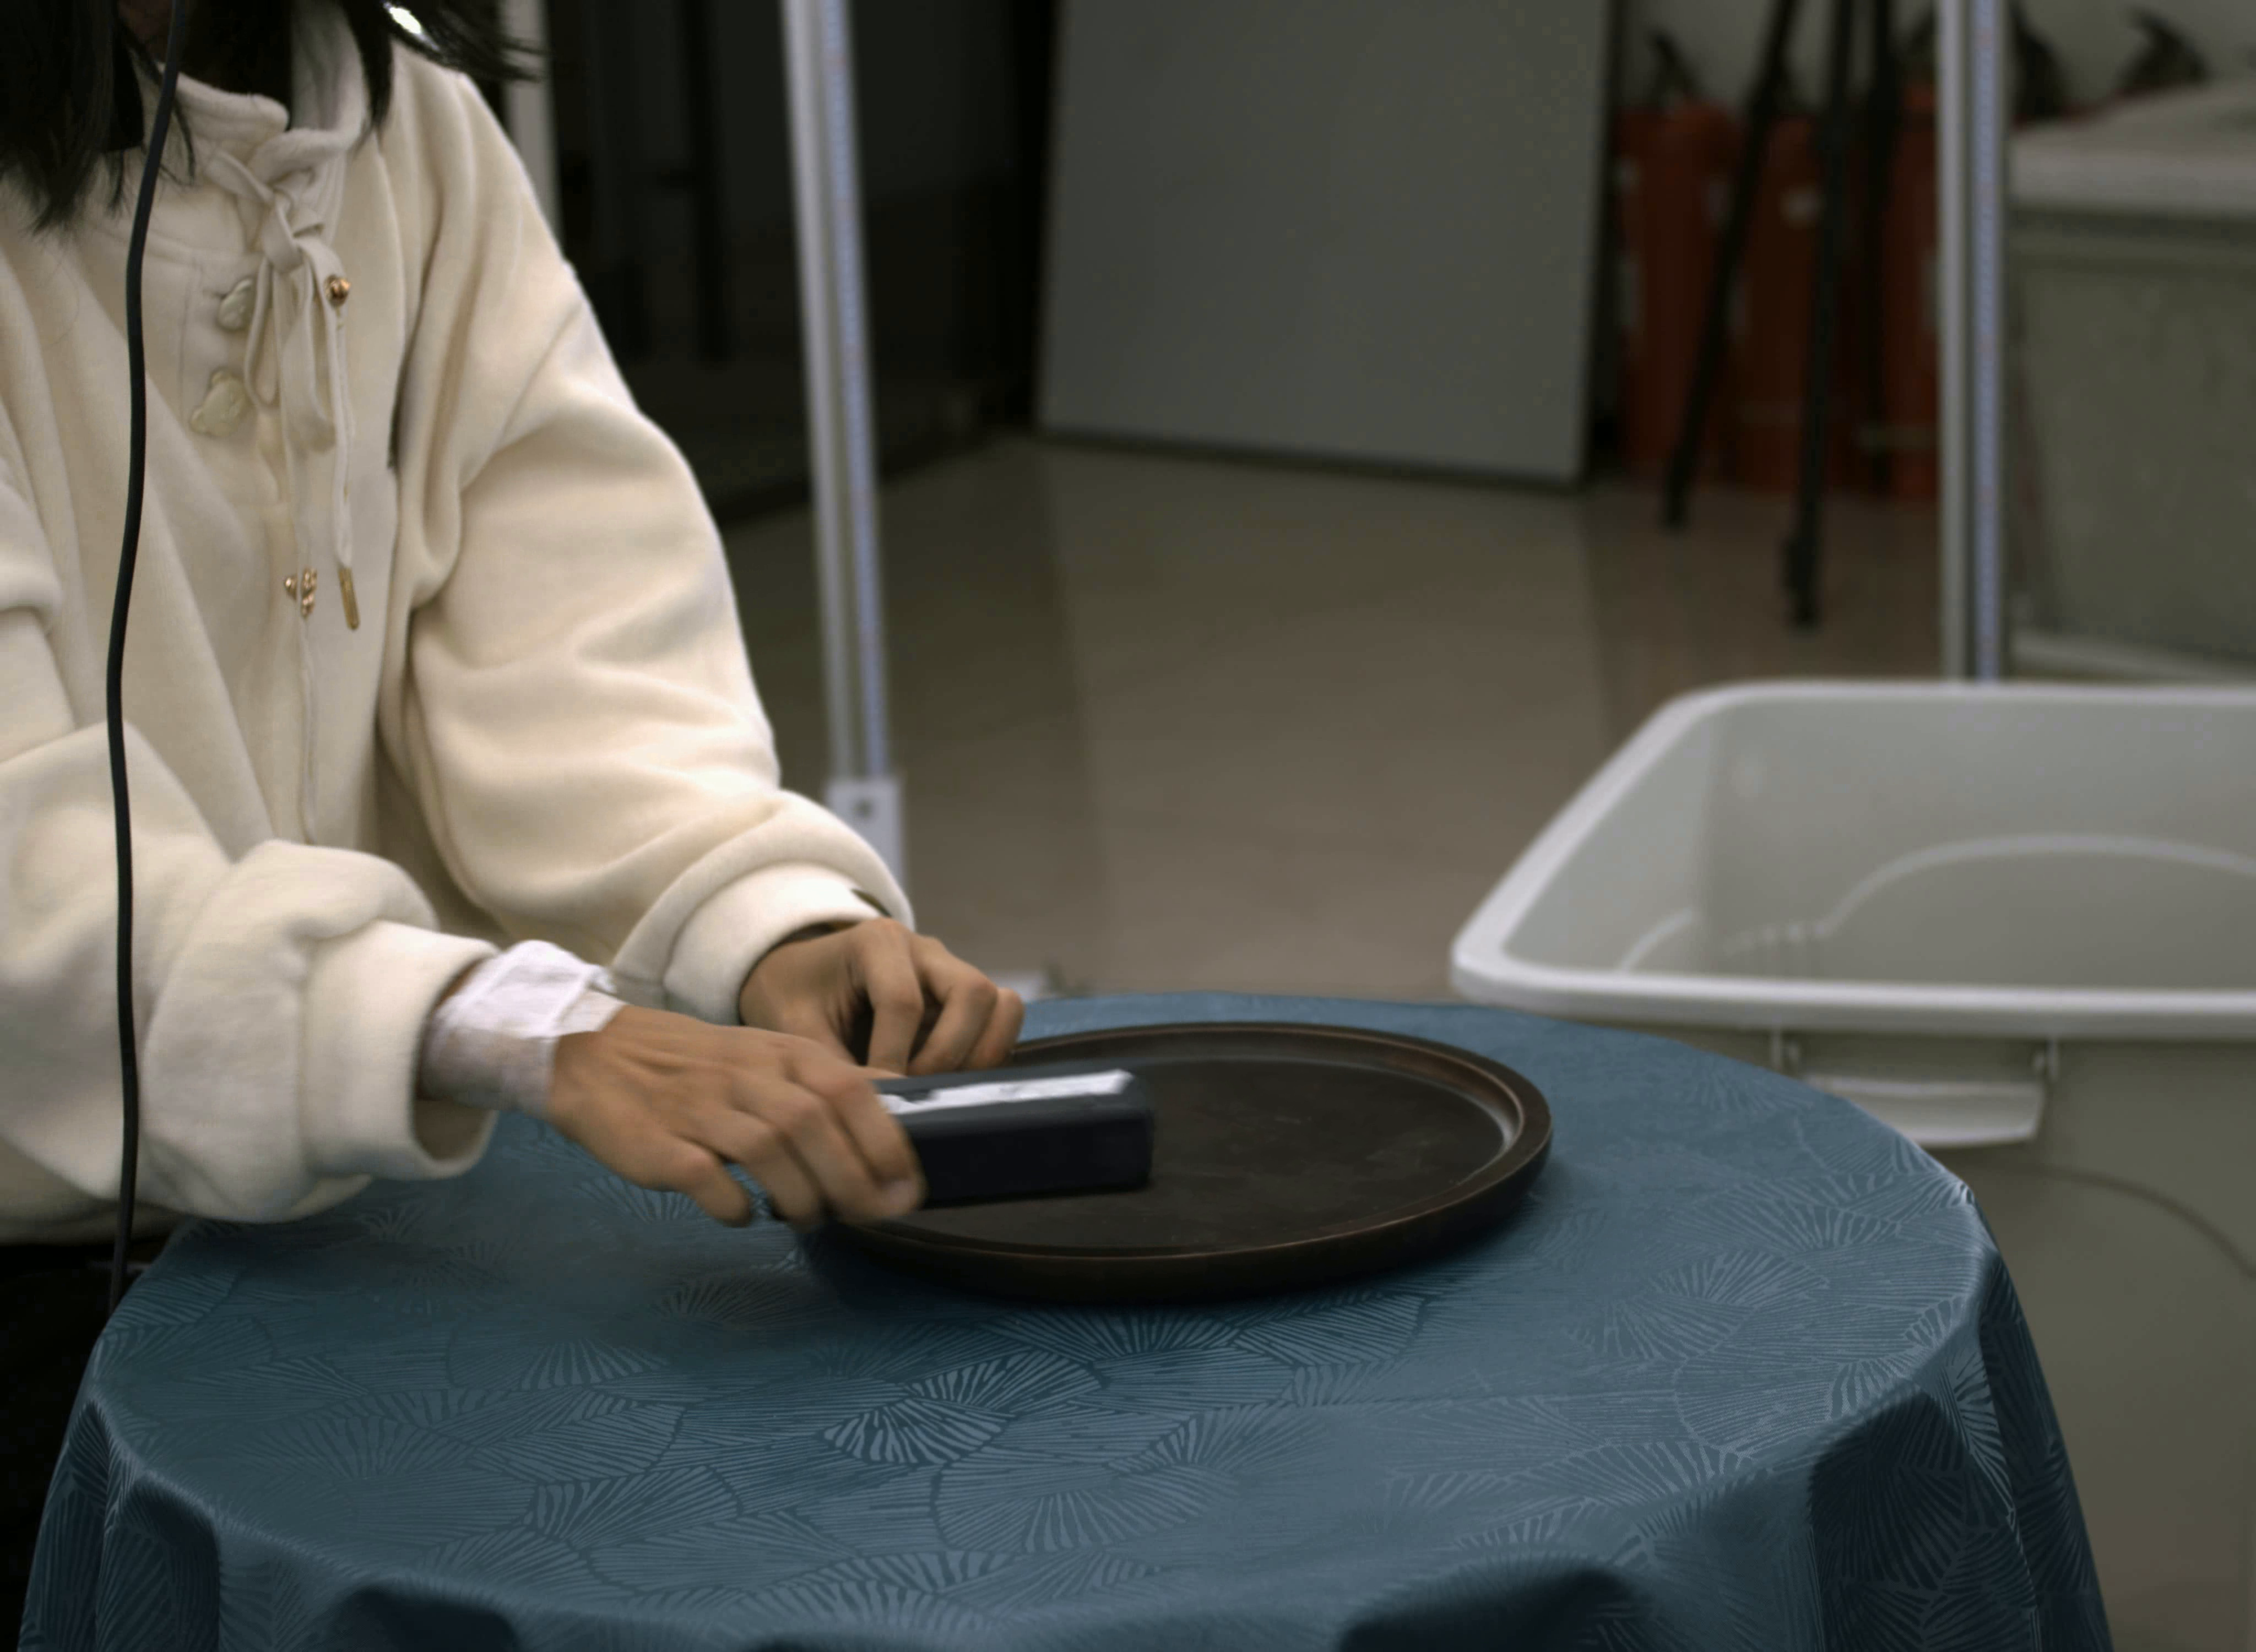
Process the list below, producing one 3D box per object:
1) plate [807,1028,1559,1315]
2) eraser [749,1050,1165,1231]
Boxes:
[{"bbox_3d":[0.016,0.110,1.761,0.251,0.029,0.255,-3,15,0],"label":"plate"},{"bbox_3d":[-0.052,0.097,1.672,0.125,0.031,0.053,-9,15,16],"label":"eraser"}]
